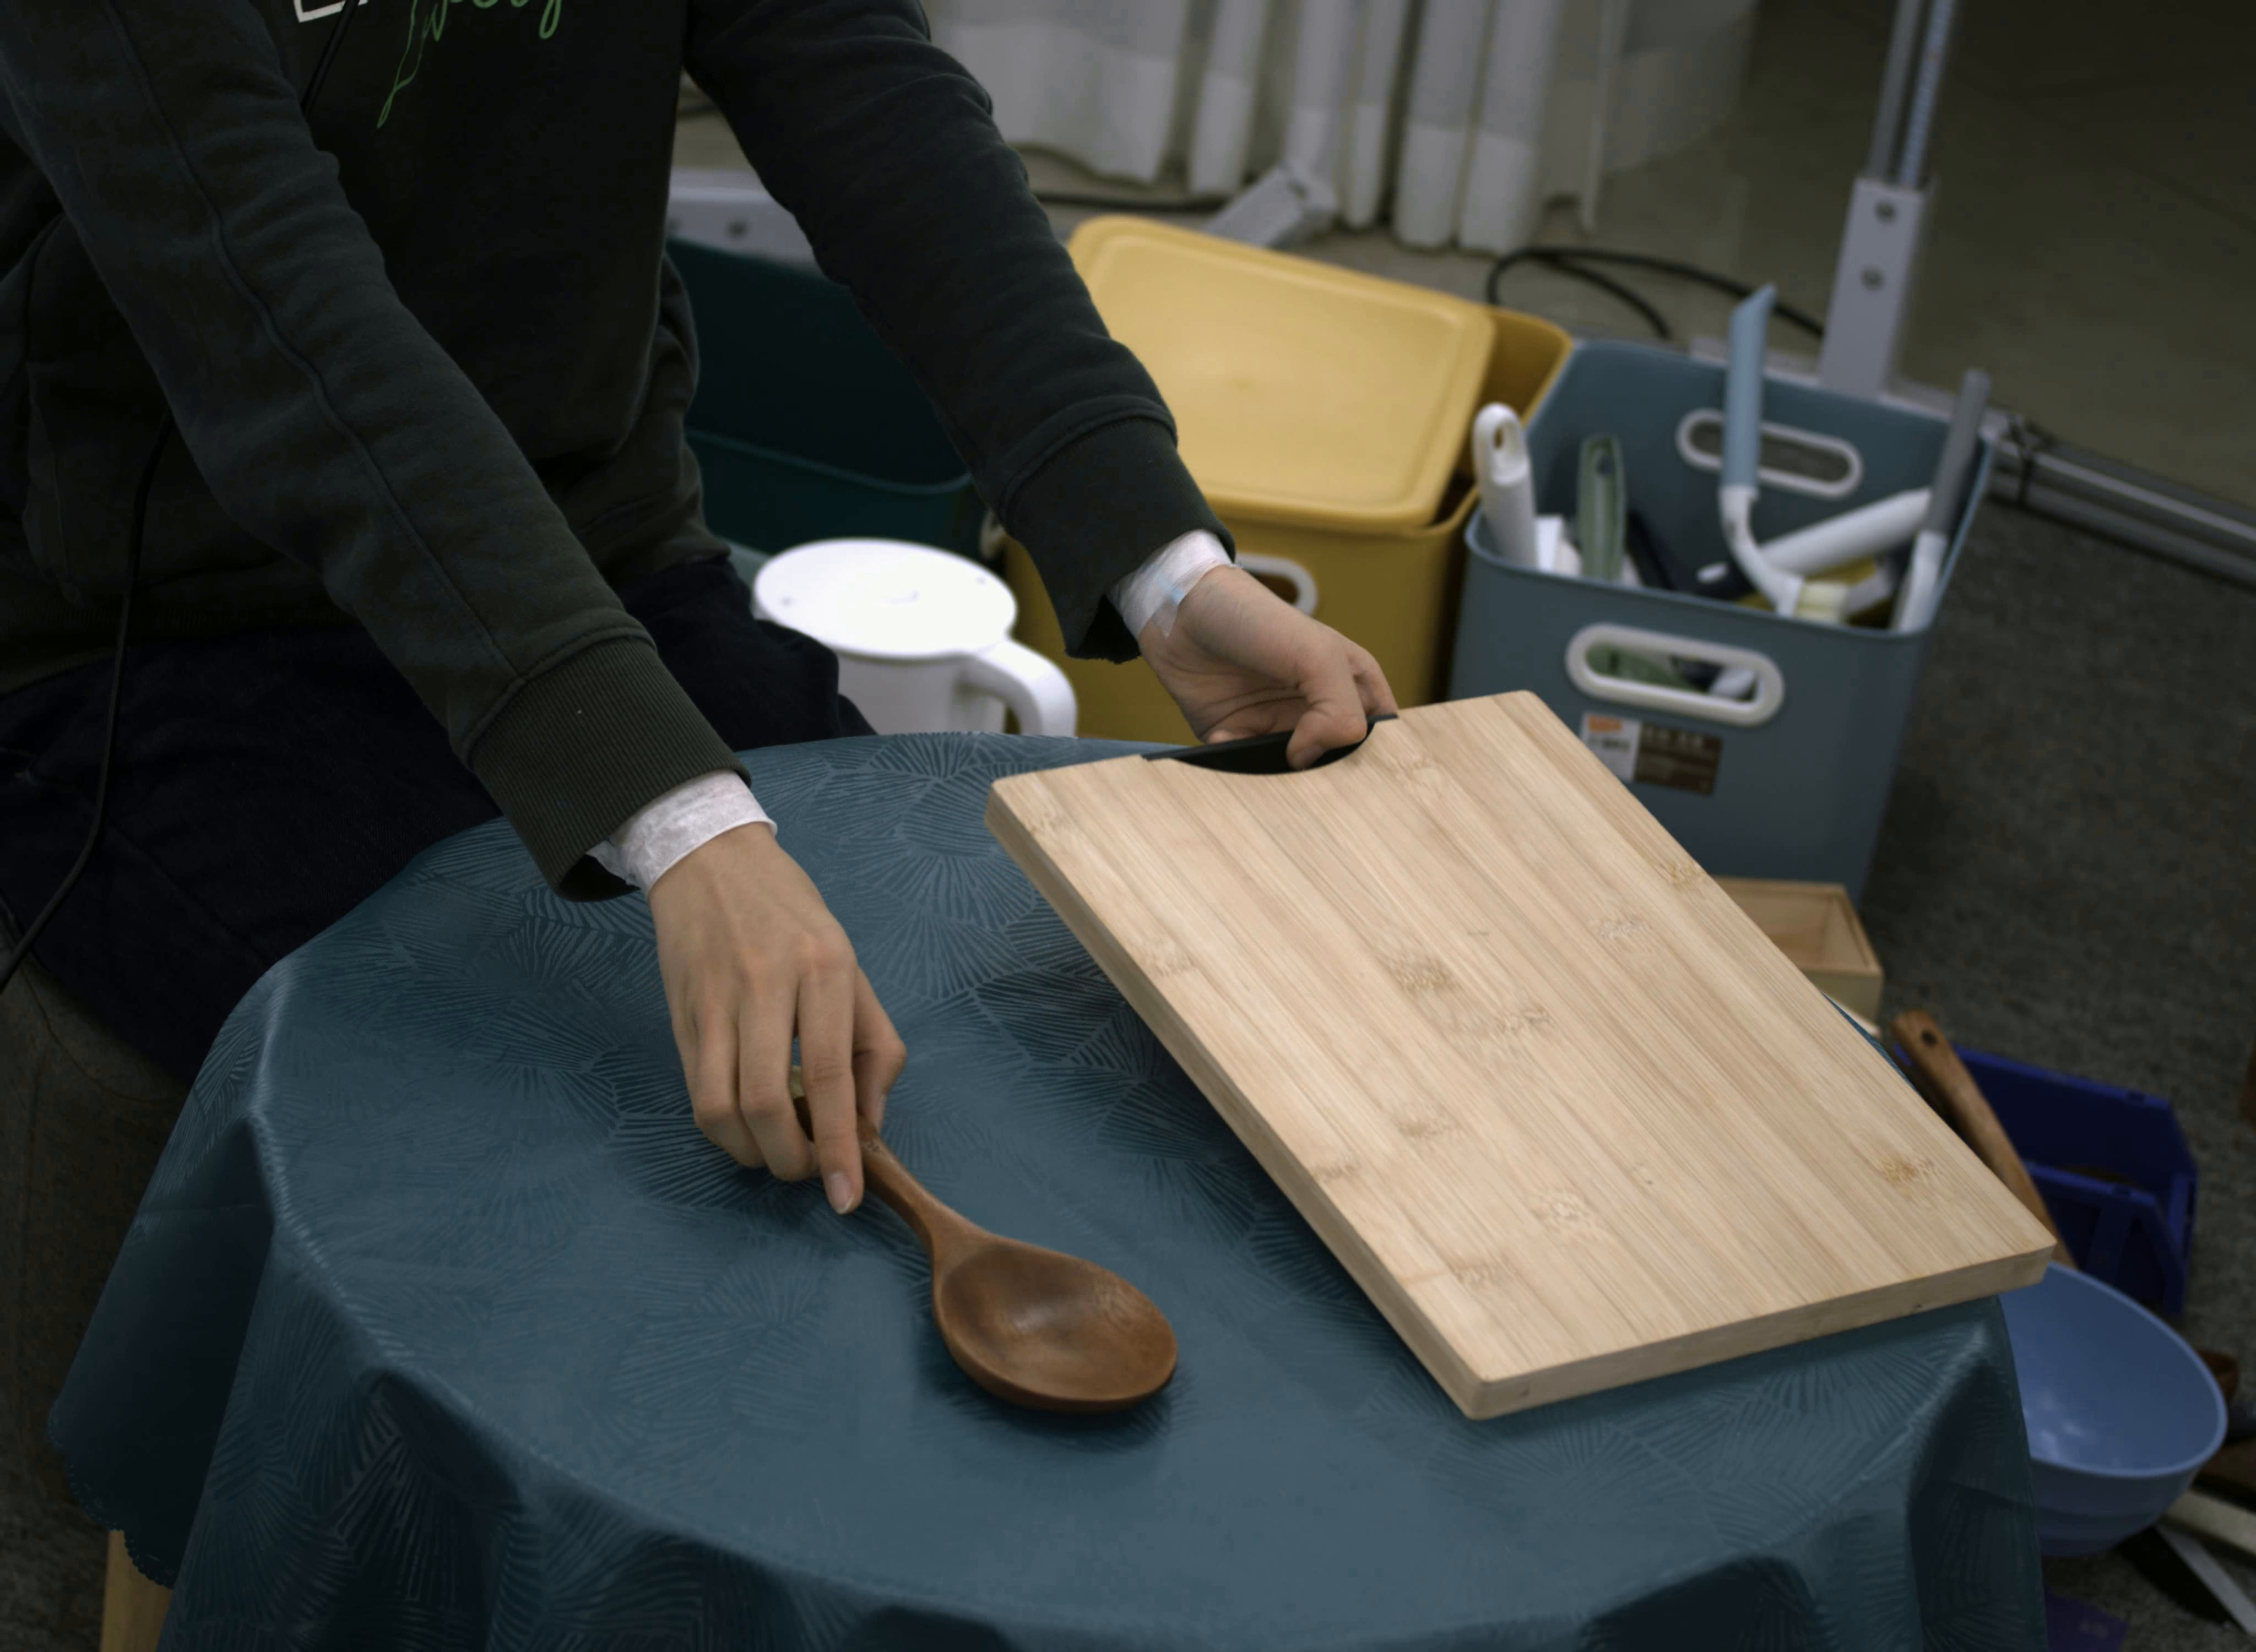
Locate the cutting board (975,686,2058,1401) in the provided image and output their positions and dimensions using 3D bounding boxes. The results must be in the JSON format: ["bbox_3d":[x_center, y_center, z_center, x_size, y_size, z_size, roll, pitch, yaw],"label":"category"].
[{"bbox_3d":[0.129,0.068,1.866,0.249,0.023,0.352,-10,39,-30],"label":"cutting board"}]

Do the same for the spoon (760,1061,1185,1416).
[{"bbox_3d":[-0.058,0.135,1.740,0.075,0.017,0.218,-14,35,-32],"label":"spoon"}]
